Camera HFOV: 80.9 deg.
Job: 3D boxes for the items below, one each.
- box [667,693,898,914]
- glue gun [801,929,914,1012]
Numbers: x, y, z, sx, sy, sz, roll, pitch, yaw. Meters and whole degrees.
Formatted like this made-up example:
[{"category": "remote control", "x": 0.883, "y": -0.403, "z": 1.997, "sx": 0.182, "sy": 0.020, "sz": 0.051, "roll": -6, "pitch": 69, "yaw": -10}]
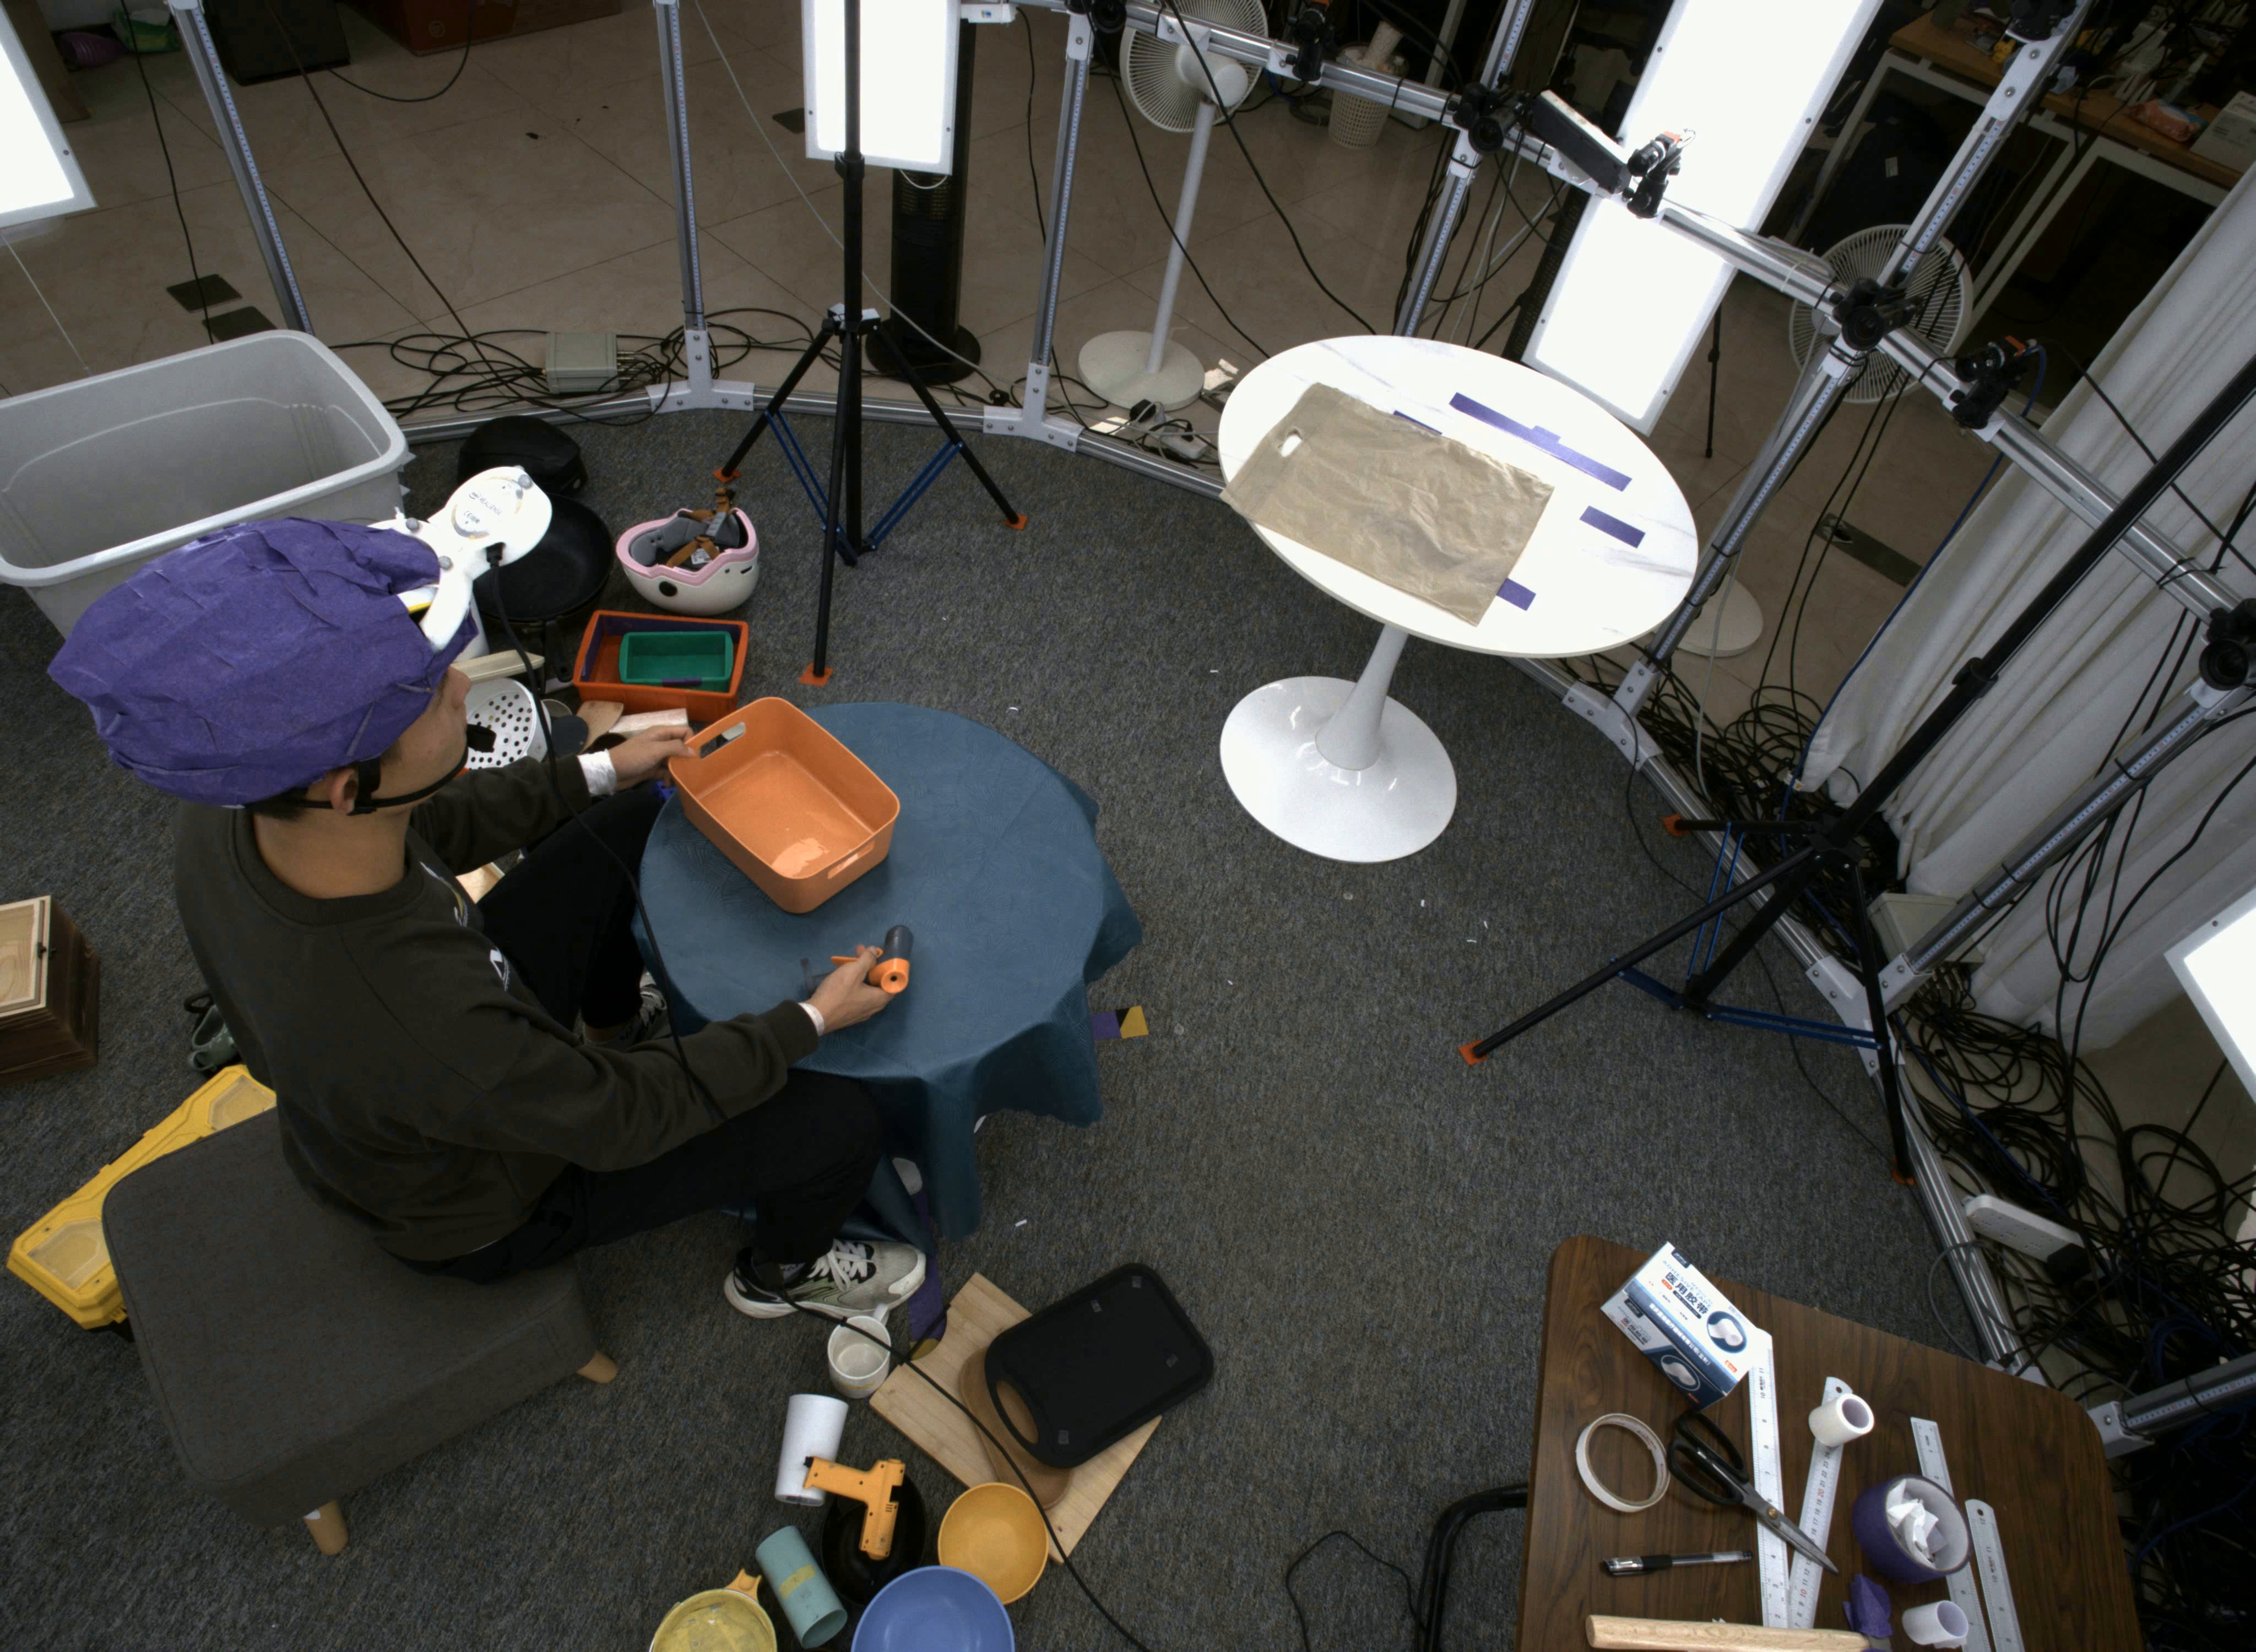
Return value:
[{"category": "box", "x": -0.443, "y": -0.025, "z": 1.667, "sx": 0.267, "sy": 0.104, "sz": 0.199, "roll": 39, "pitch": 55, "yaw": 15}, {"category": "glue gun", "x": -0.318, "y": 0.169, "z": 1.565, "sx": 0.140, "sy": 0.042, "sz": 0.114, "roll": -16, "pitch": 26, "yaw": -16}]
